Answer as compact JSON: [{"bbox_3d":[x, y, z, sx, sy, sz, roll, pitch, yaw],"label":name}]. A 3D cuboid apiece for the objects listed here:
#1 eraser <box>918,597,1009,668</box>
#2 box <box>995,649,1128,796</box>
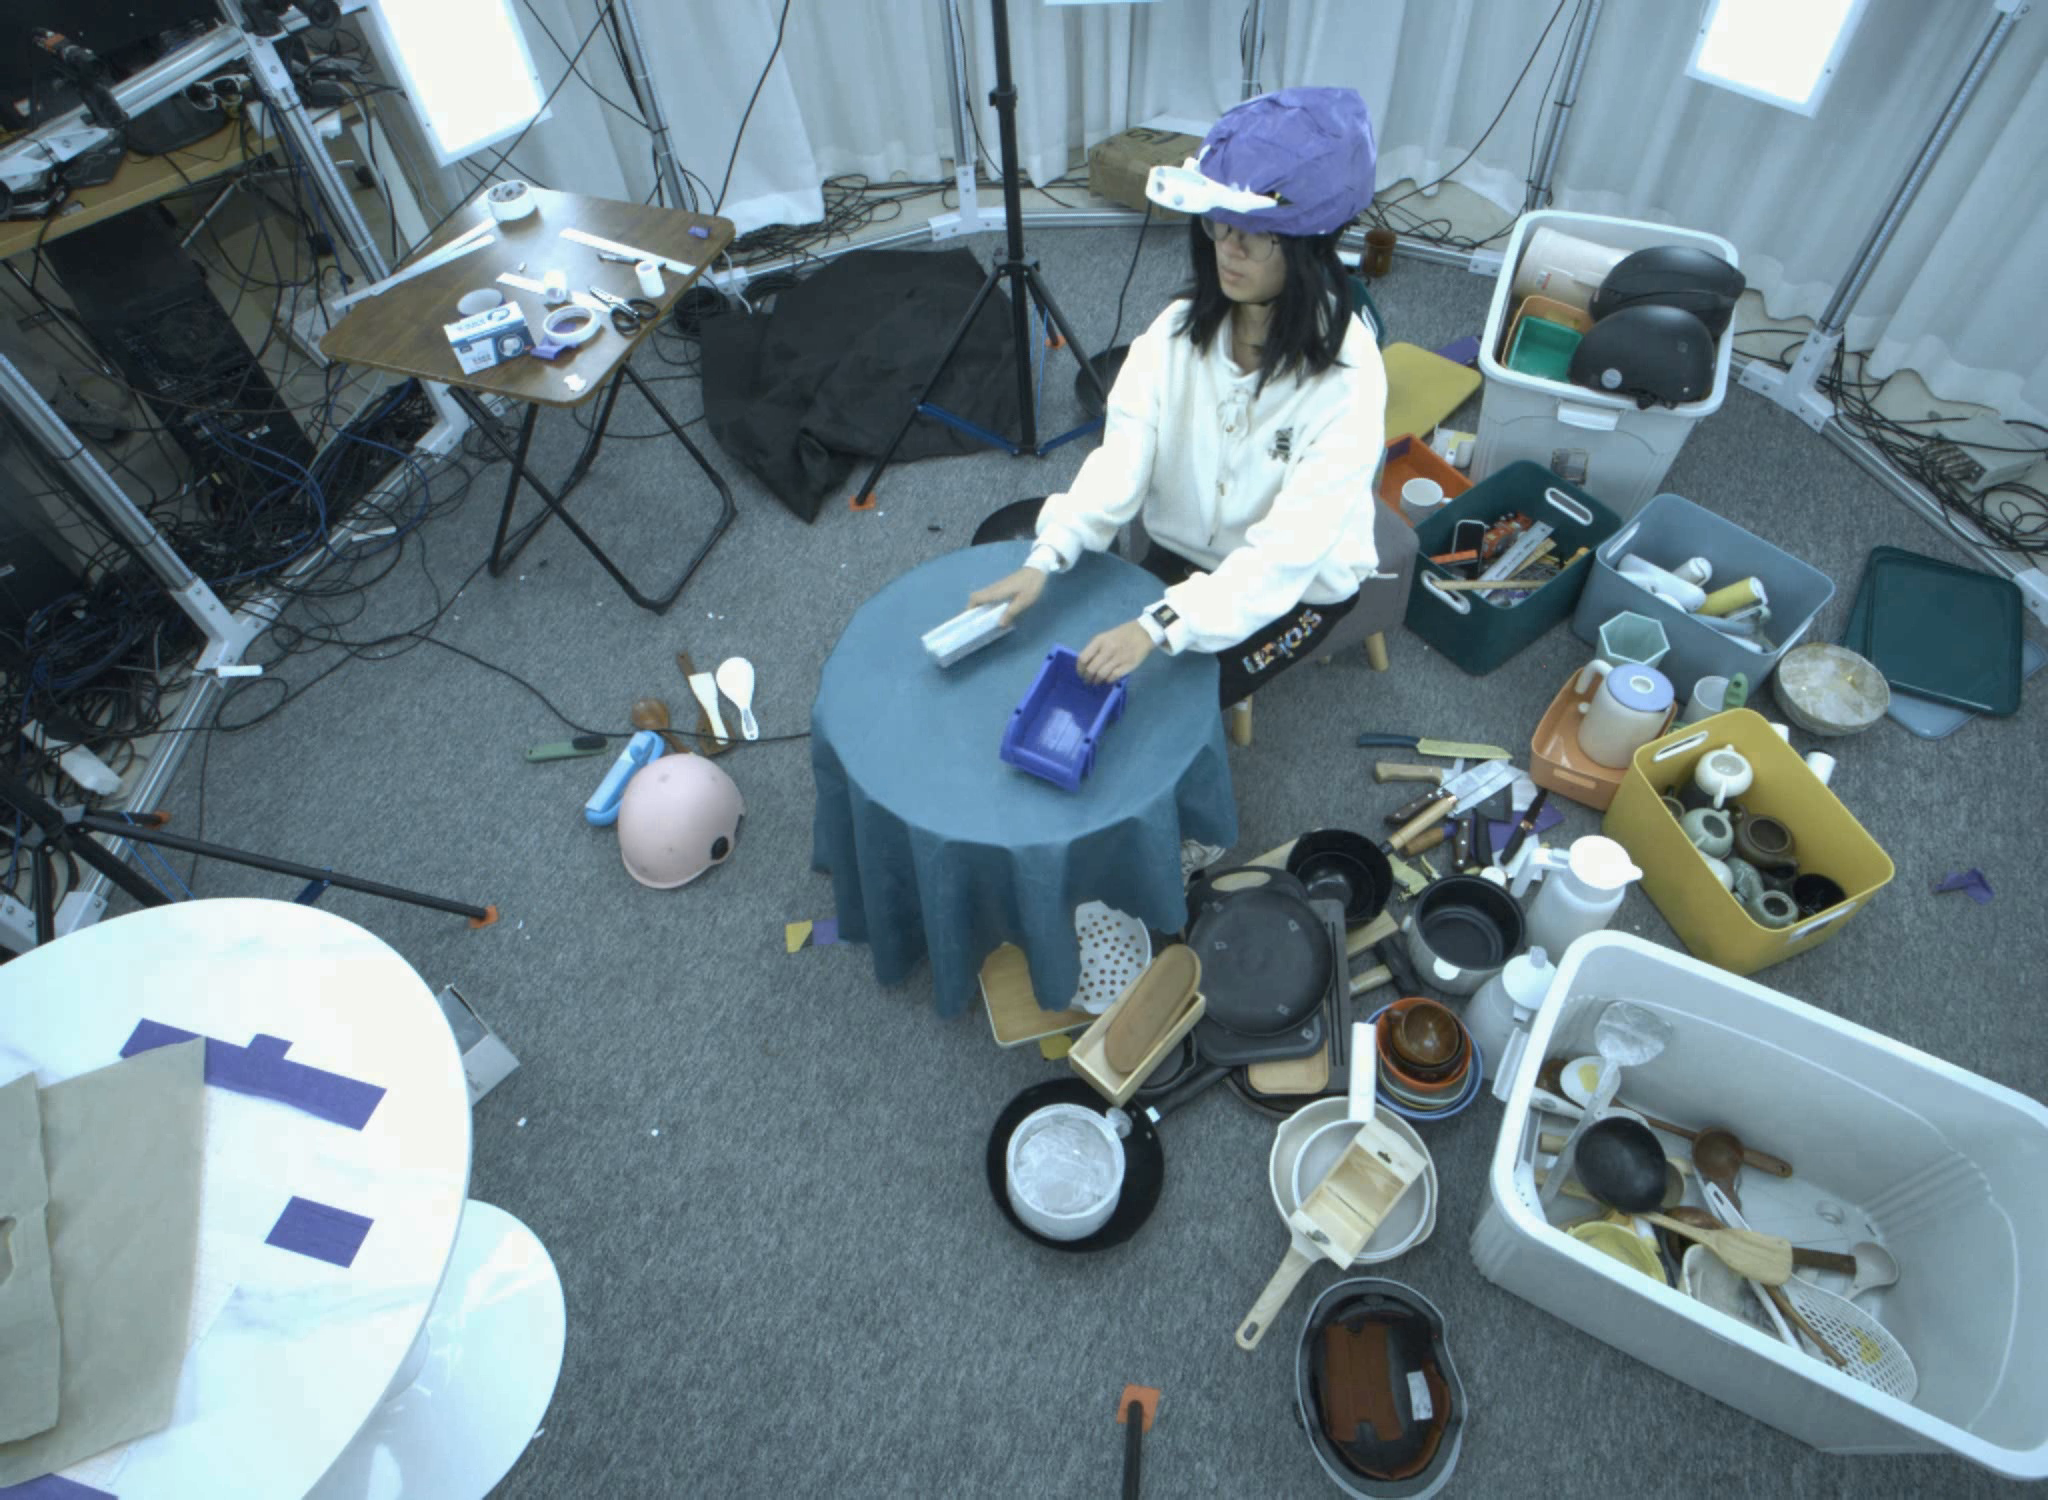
[{"bbox_3d":[-0.091,-0.180,1.872,0.135,0.047,0.048,-34,35,-20],"label":"eraser"},{"bbox_3d":[0.055,-0.036,1.754,0.123,0.082,0.180,25,60,13],"label":"box"}]
